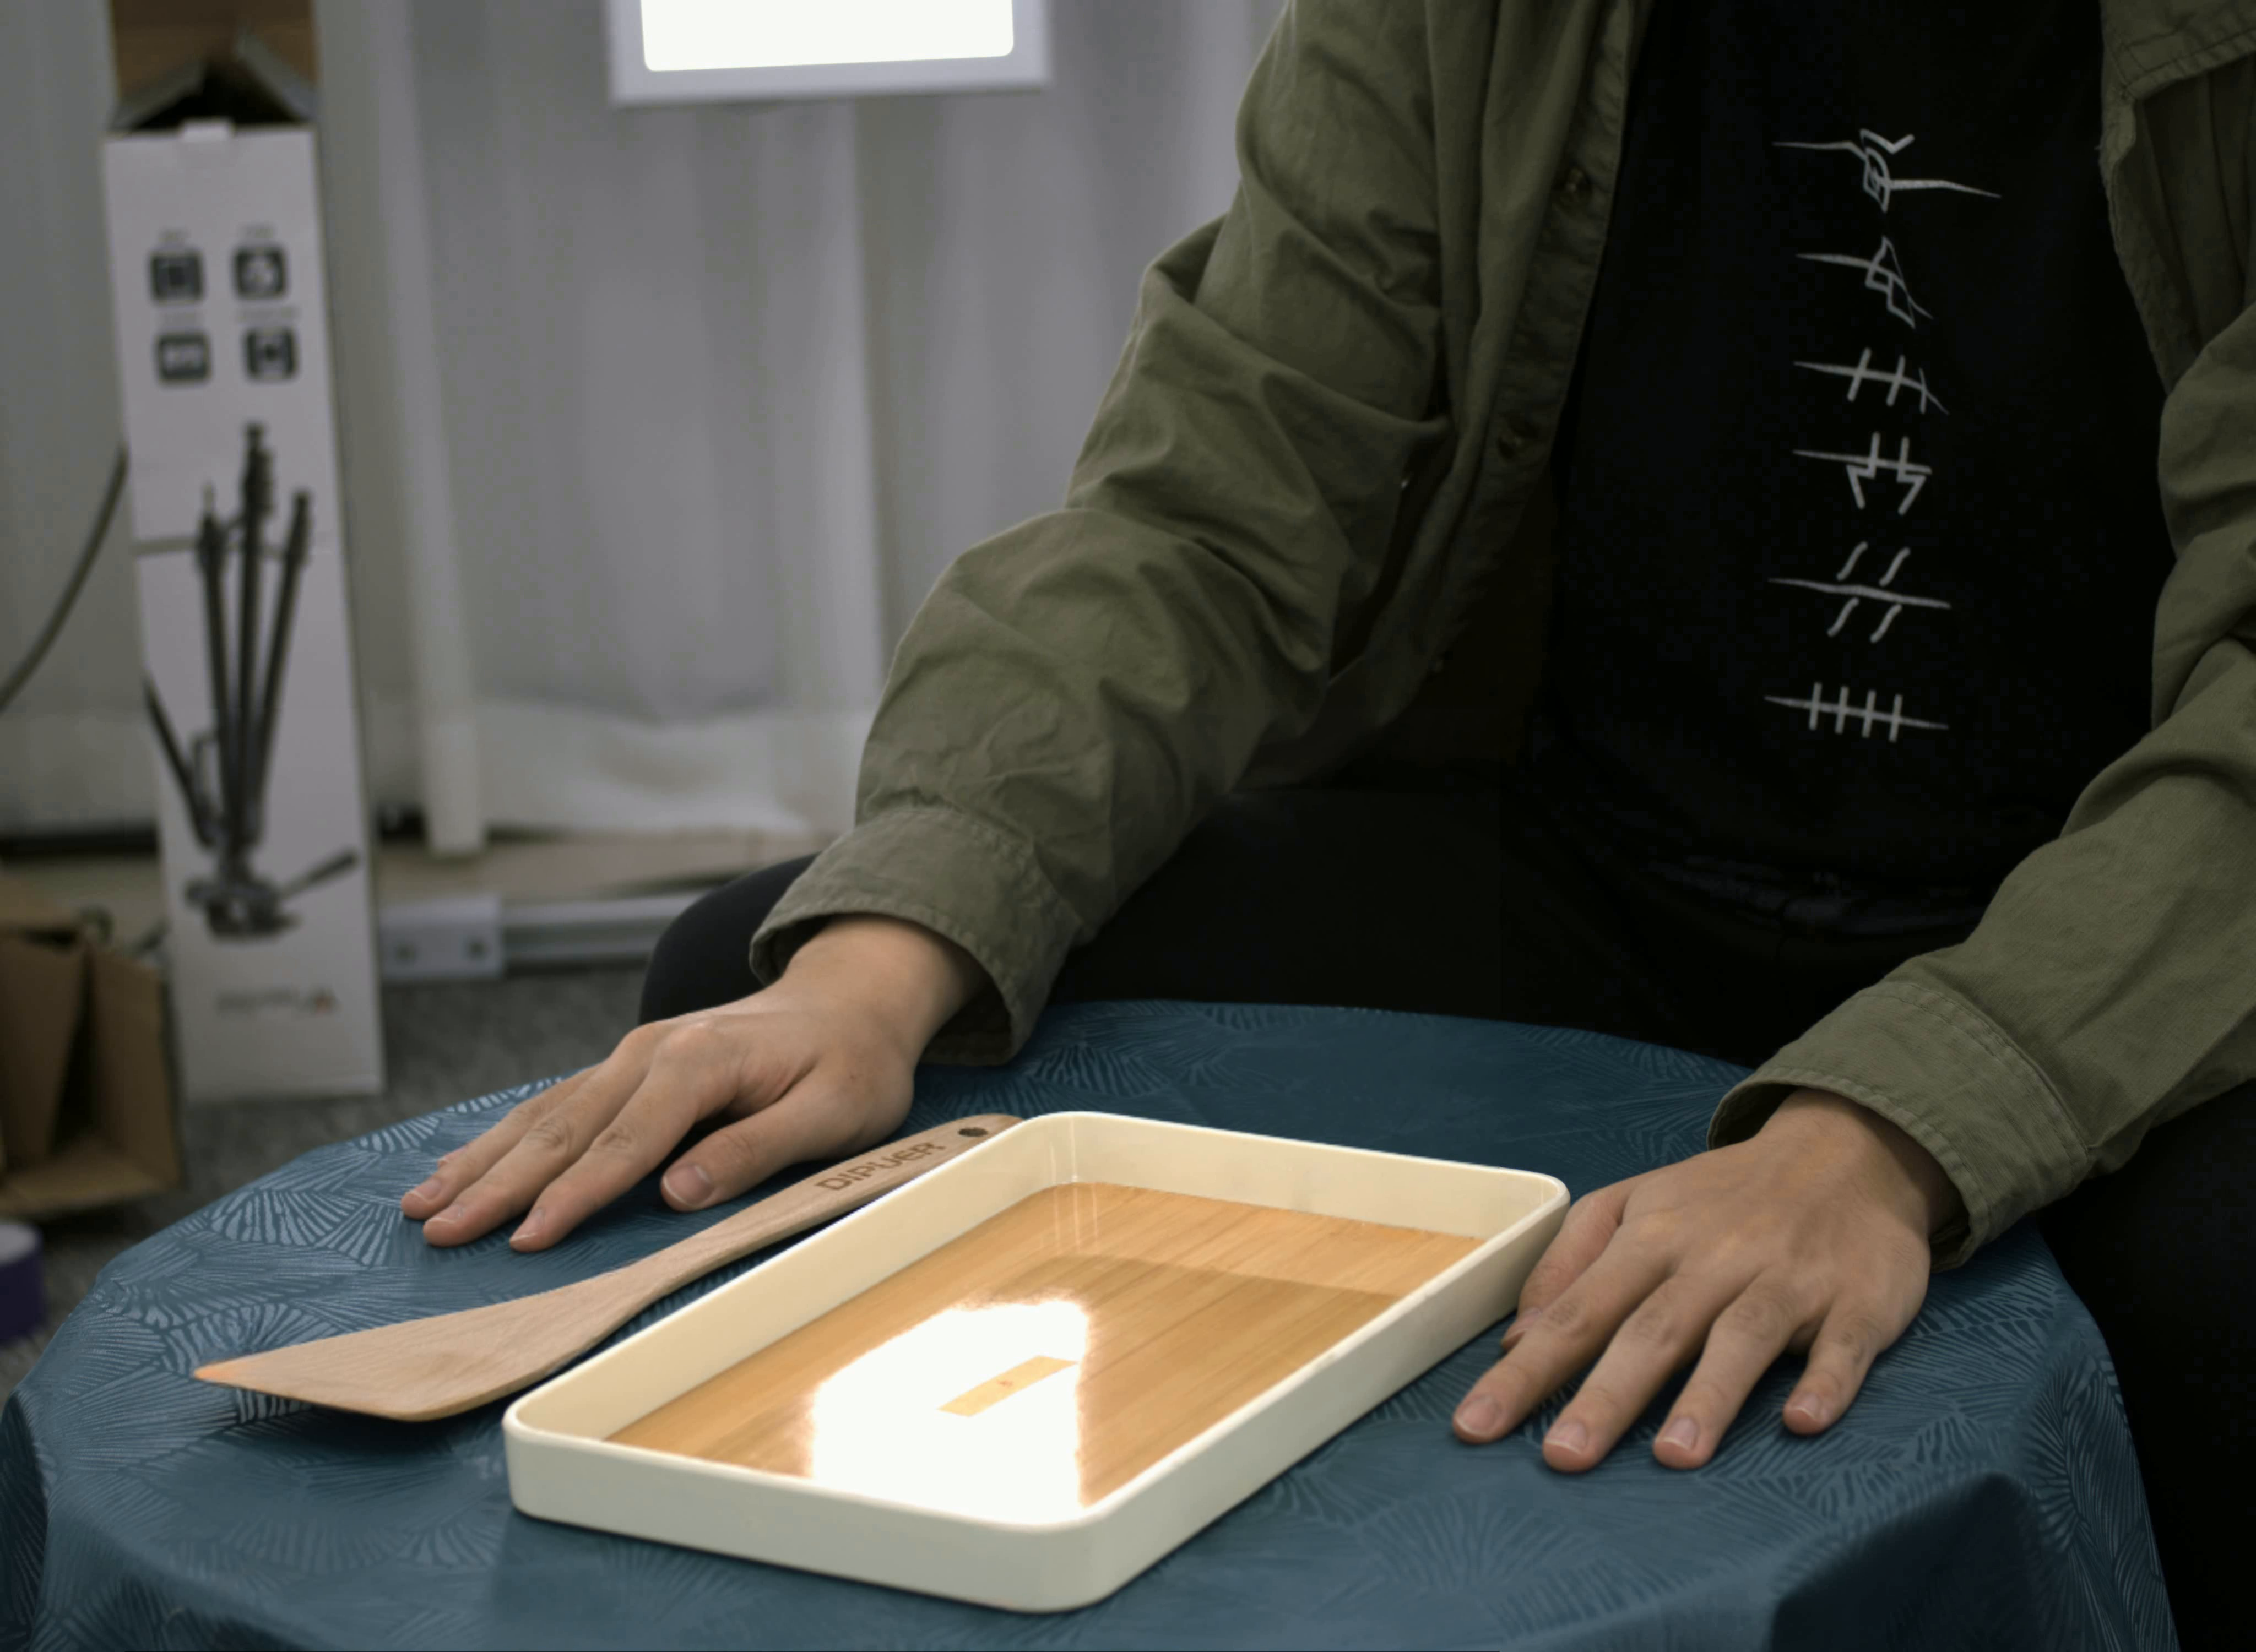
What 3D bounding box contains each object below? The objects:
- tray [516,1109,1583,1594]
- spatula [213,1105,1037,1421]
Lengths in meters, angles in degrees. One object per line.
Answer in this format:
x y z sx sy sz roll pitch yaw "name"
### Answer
-0.015 0.144 1.557 0.192 0.027 0.300 7 17 31 "tray"
-0.133 0.129 1.658 0.080 0.016 0.327 9 19 37 "spatula"
